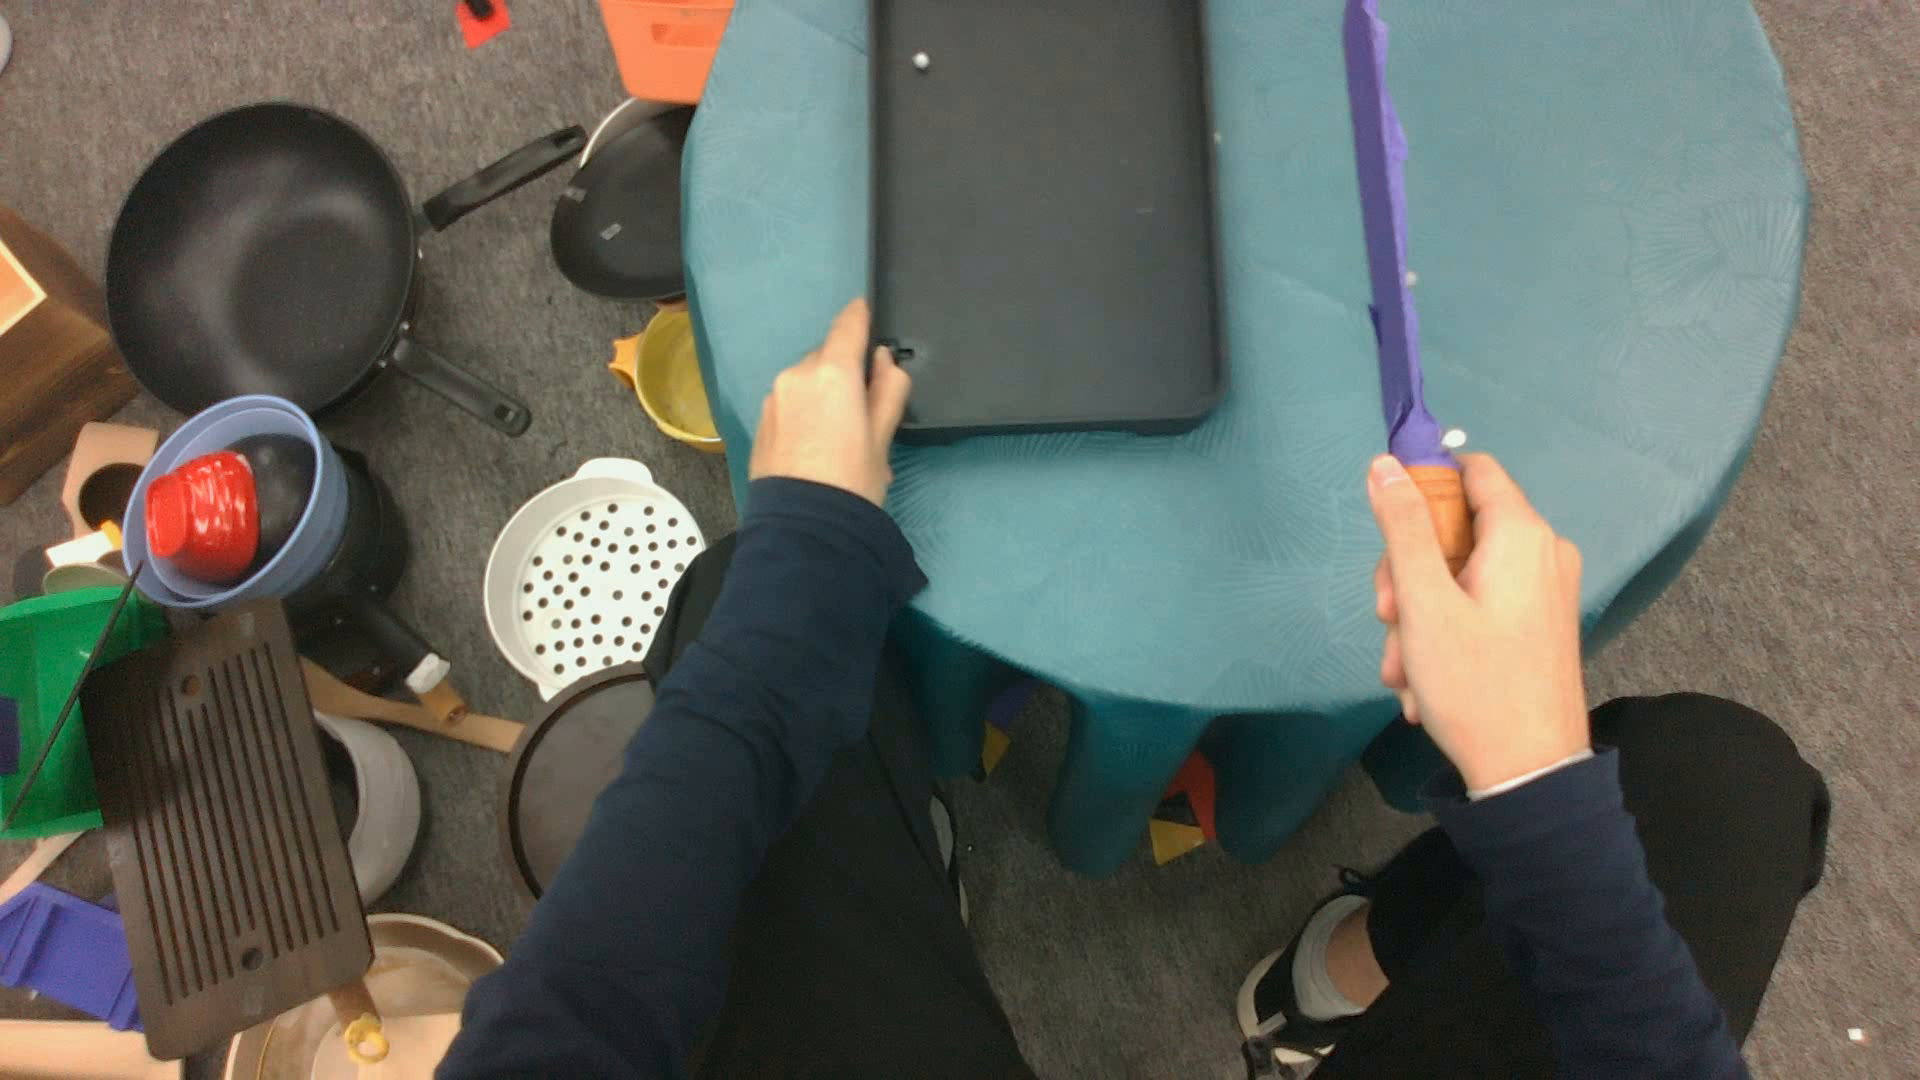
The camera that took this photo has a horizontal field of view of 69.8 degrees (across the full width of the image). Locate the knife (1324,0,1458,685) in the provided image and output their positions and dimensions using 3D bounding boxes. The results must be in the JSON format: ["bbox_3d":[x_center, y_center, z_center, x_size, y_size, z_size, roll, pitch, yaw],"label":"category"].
[{"bbox_3d":[0.179,-0.097,0.585,0.032,0.104,0.315,-3,83,11],"label":"knife"}]

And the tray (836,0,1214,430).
[{"bbox_3d":[0.029,-0.217,0.743,0.184,0.037,0.318,-4,76,0],"label":"tray"}]
